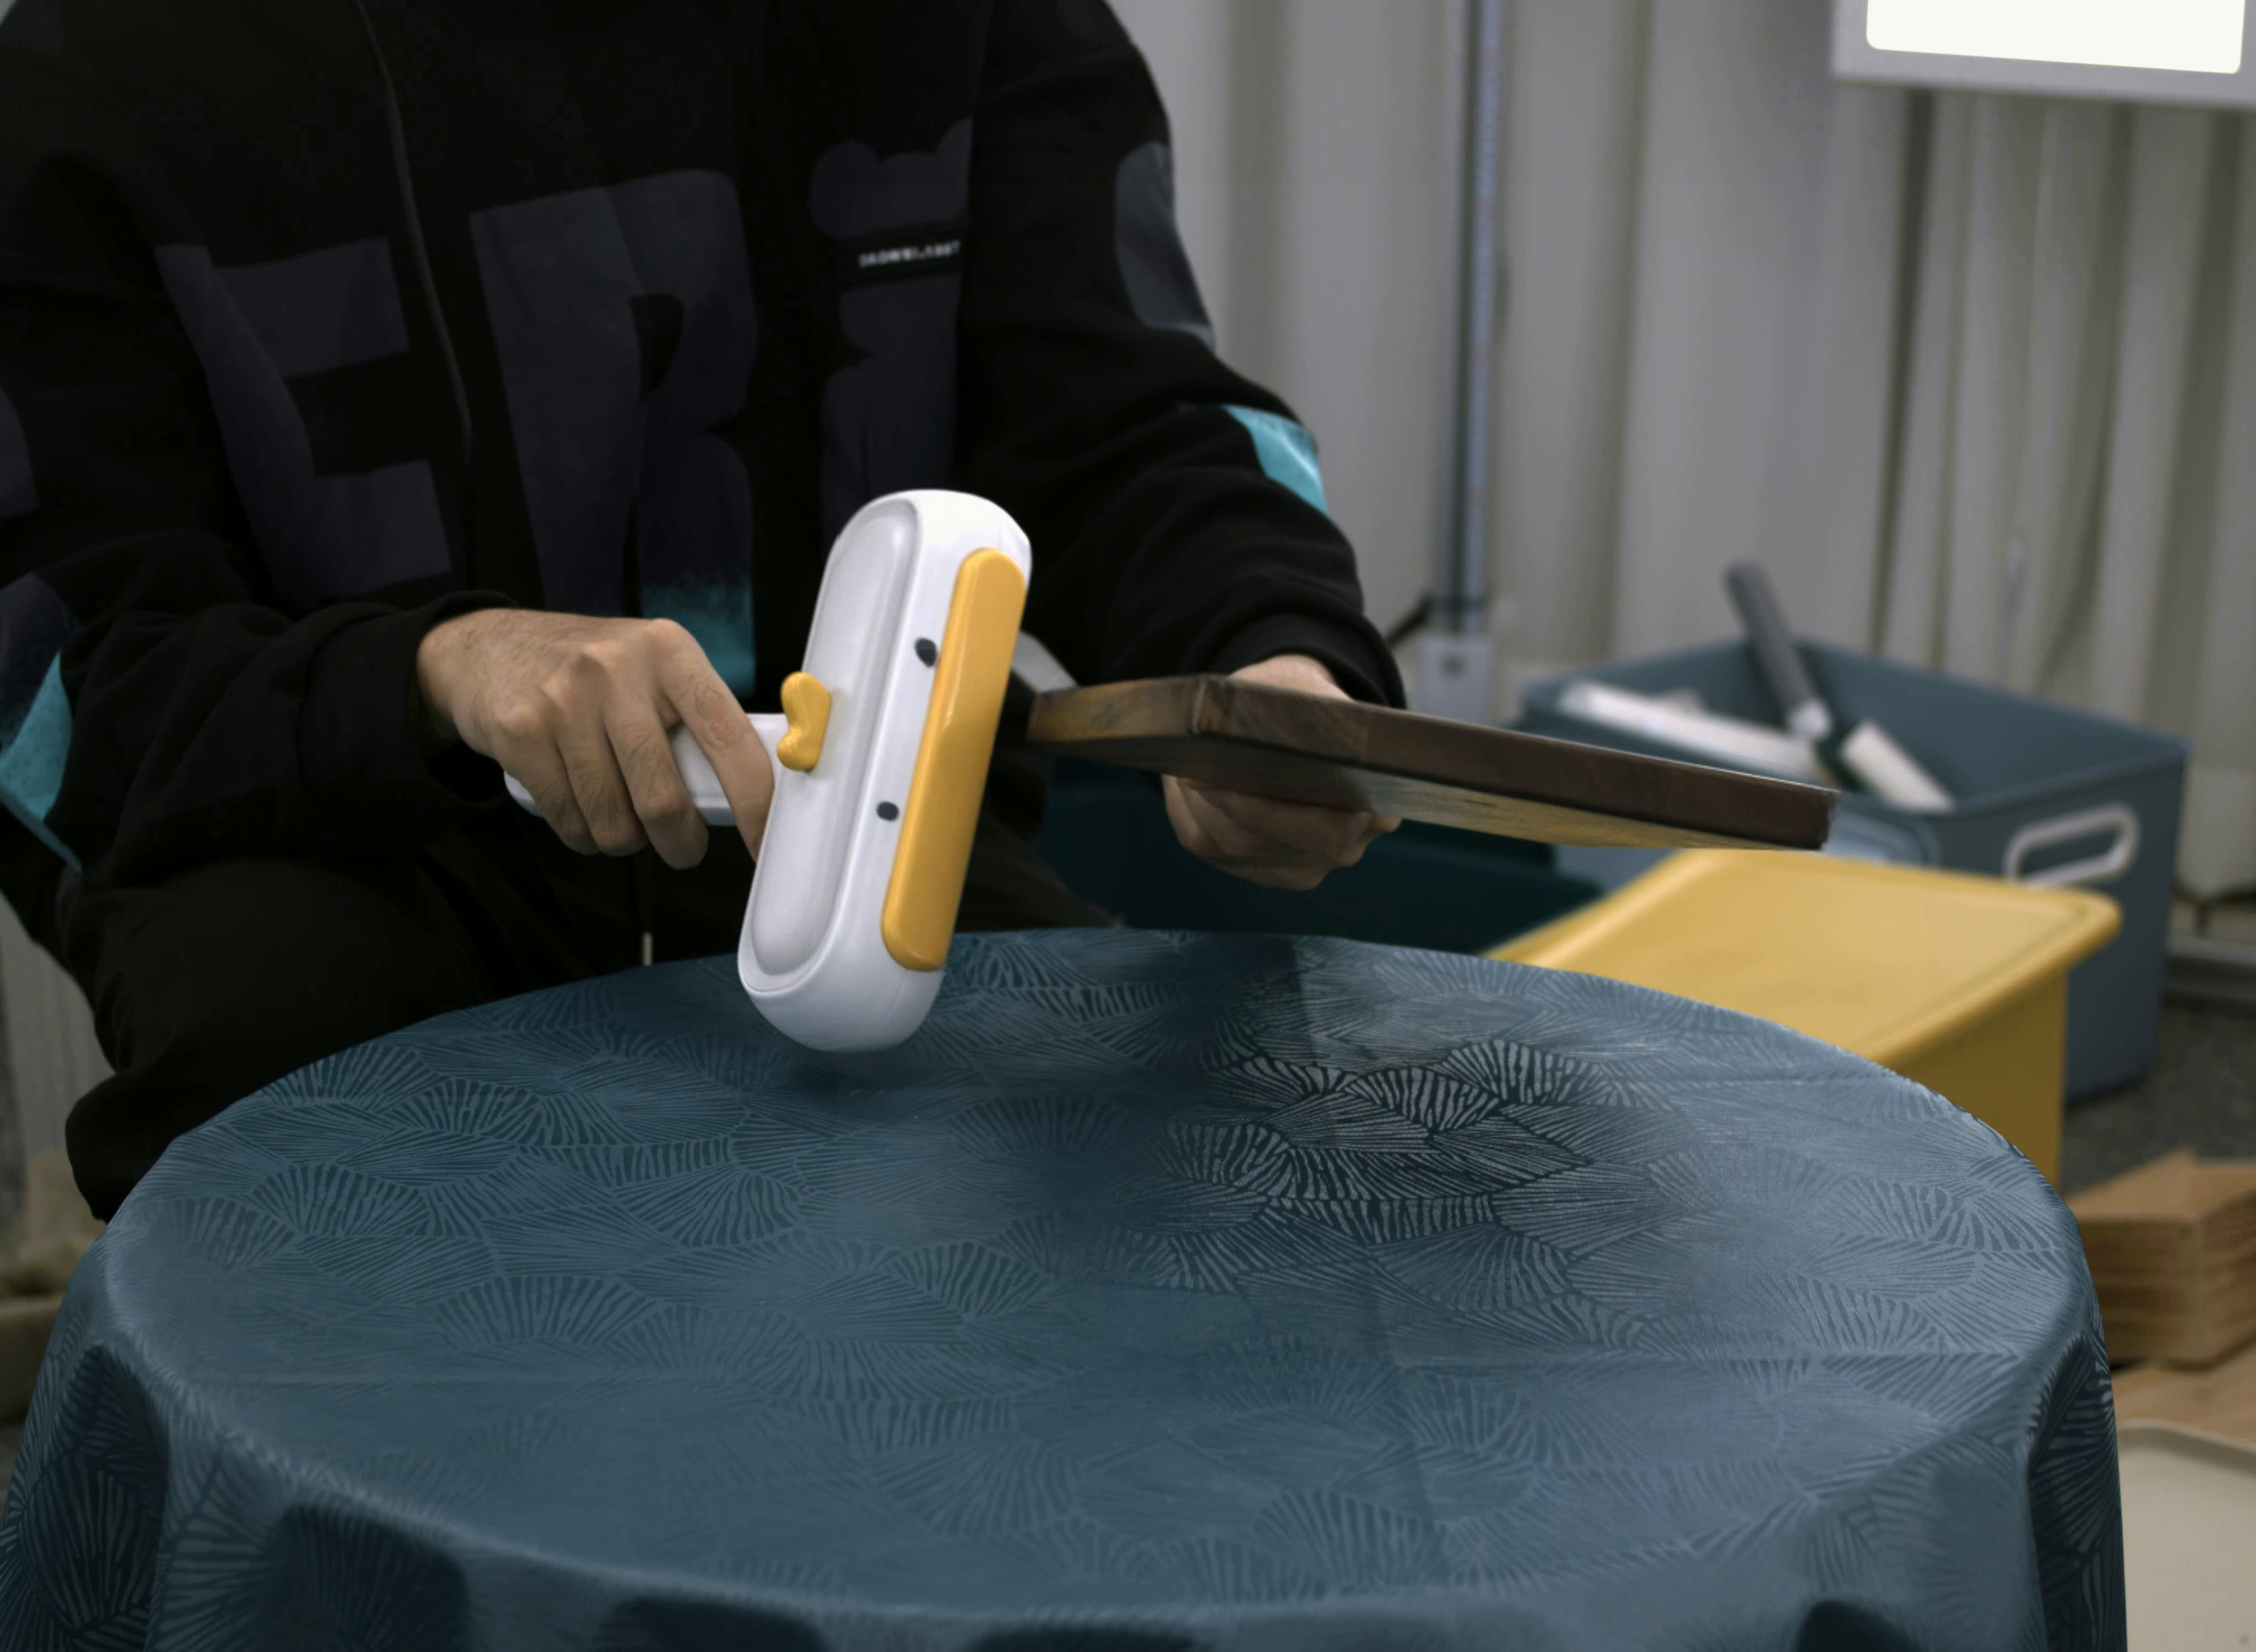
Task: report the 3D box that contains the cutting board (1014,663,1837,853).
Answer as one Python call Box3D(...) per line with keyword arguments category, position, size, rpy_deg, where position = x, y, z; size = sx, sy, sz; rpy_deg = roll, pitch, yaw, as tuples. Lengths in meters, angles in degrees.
Box3D(category="cutting board", position=(0.074, -0.018, 1.683), size=(0.201, 0.023, 0.350), rpy_deg=(11, -3, -13))

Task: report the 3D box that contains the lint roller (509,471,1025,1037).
Box3D(category="lint roller", position=(-0.125, -0.020, 1.766), size=(0.190, 0.192, 0.075), rpy_deg=(-9, -22, 41))
